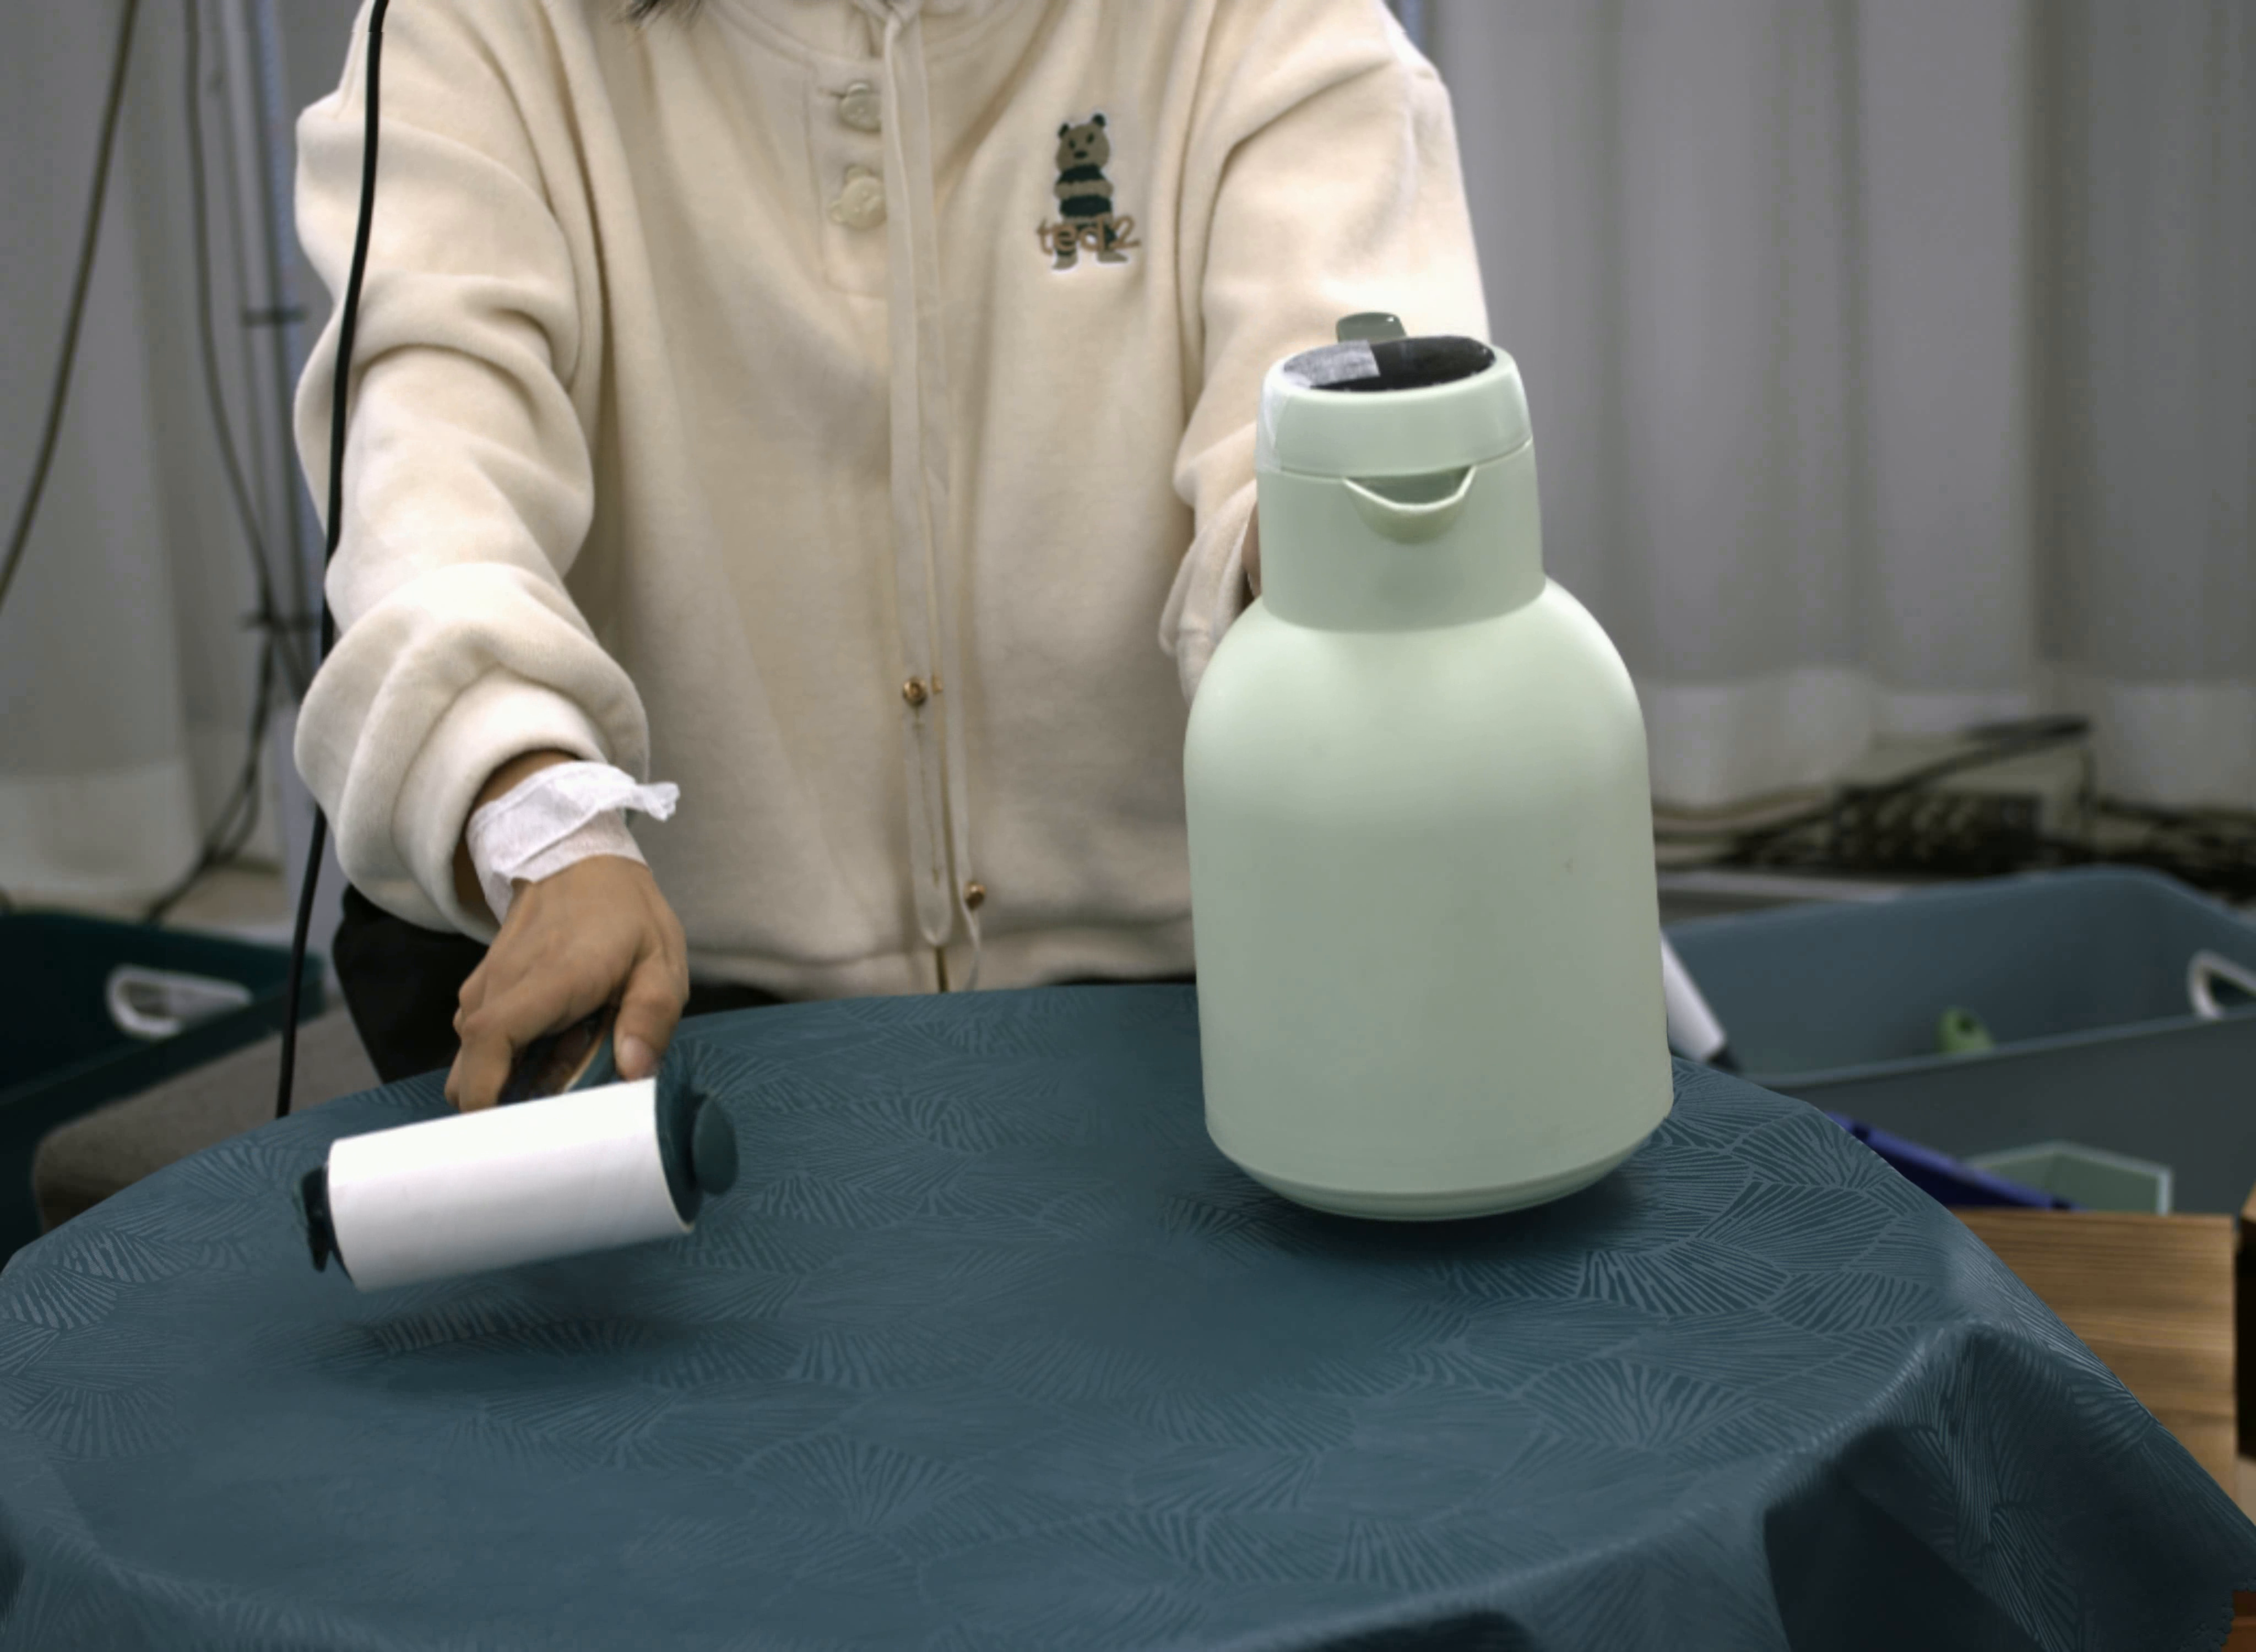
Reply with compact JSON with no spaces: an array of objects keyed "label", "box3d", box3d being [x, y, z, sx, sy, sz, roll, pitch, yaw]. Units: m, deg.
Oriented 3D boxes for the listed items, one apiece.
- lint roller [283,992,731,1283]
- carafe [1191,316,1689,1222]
[{"label":"lint roller","box3d":[-0.180,0.074,1.664,0.134,0.048,0.182,-11,24,6]},{"label":"carafe","box3d":[0.088,-0.023,1.671,0.144,0.256,0.188,-7,13,-2]}]
